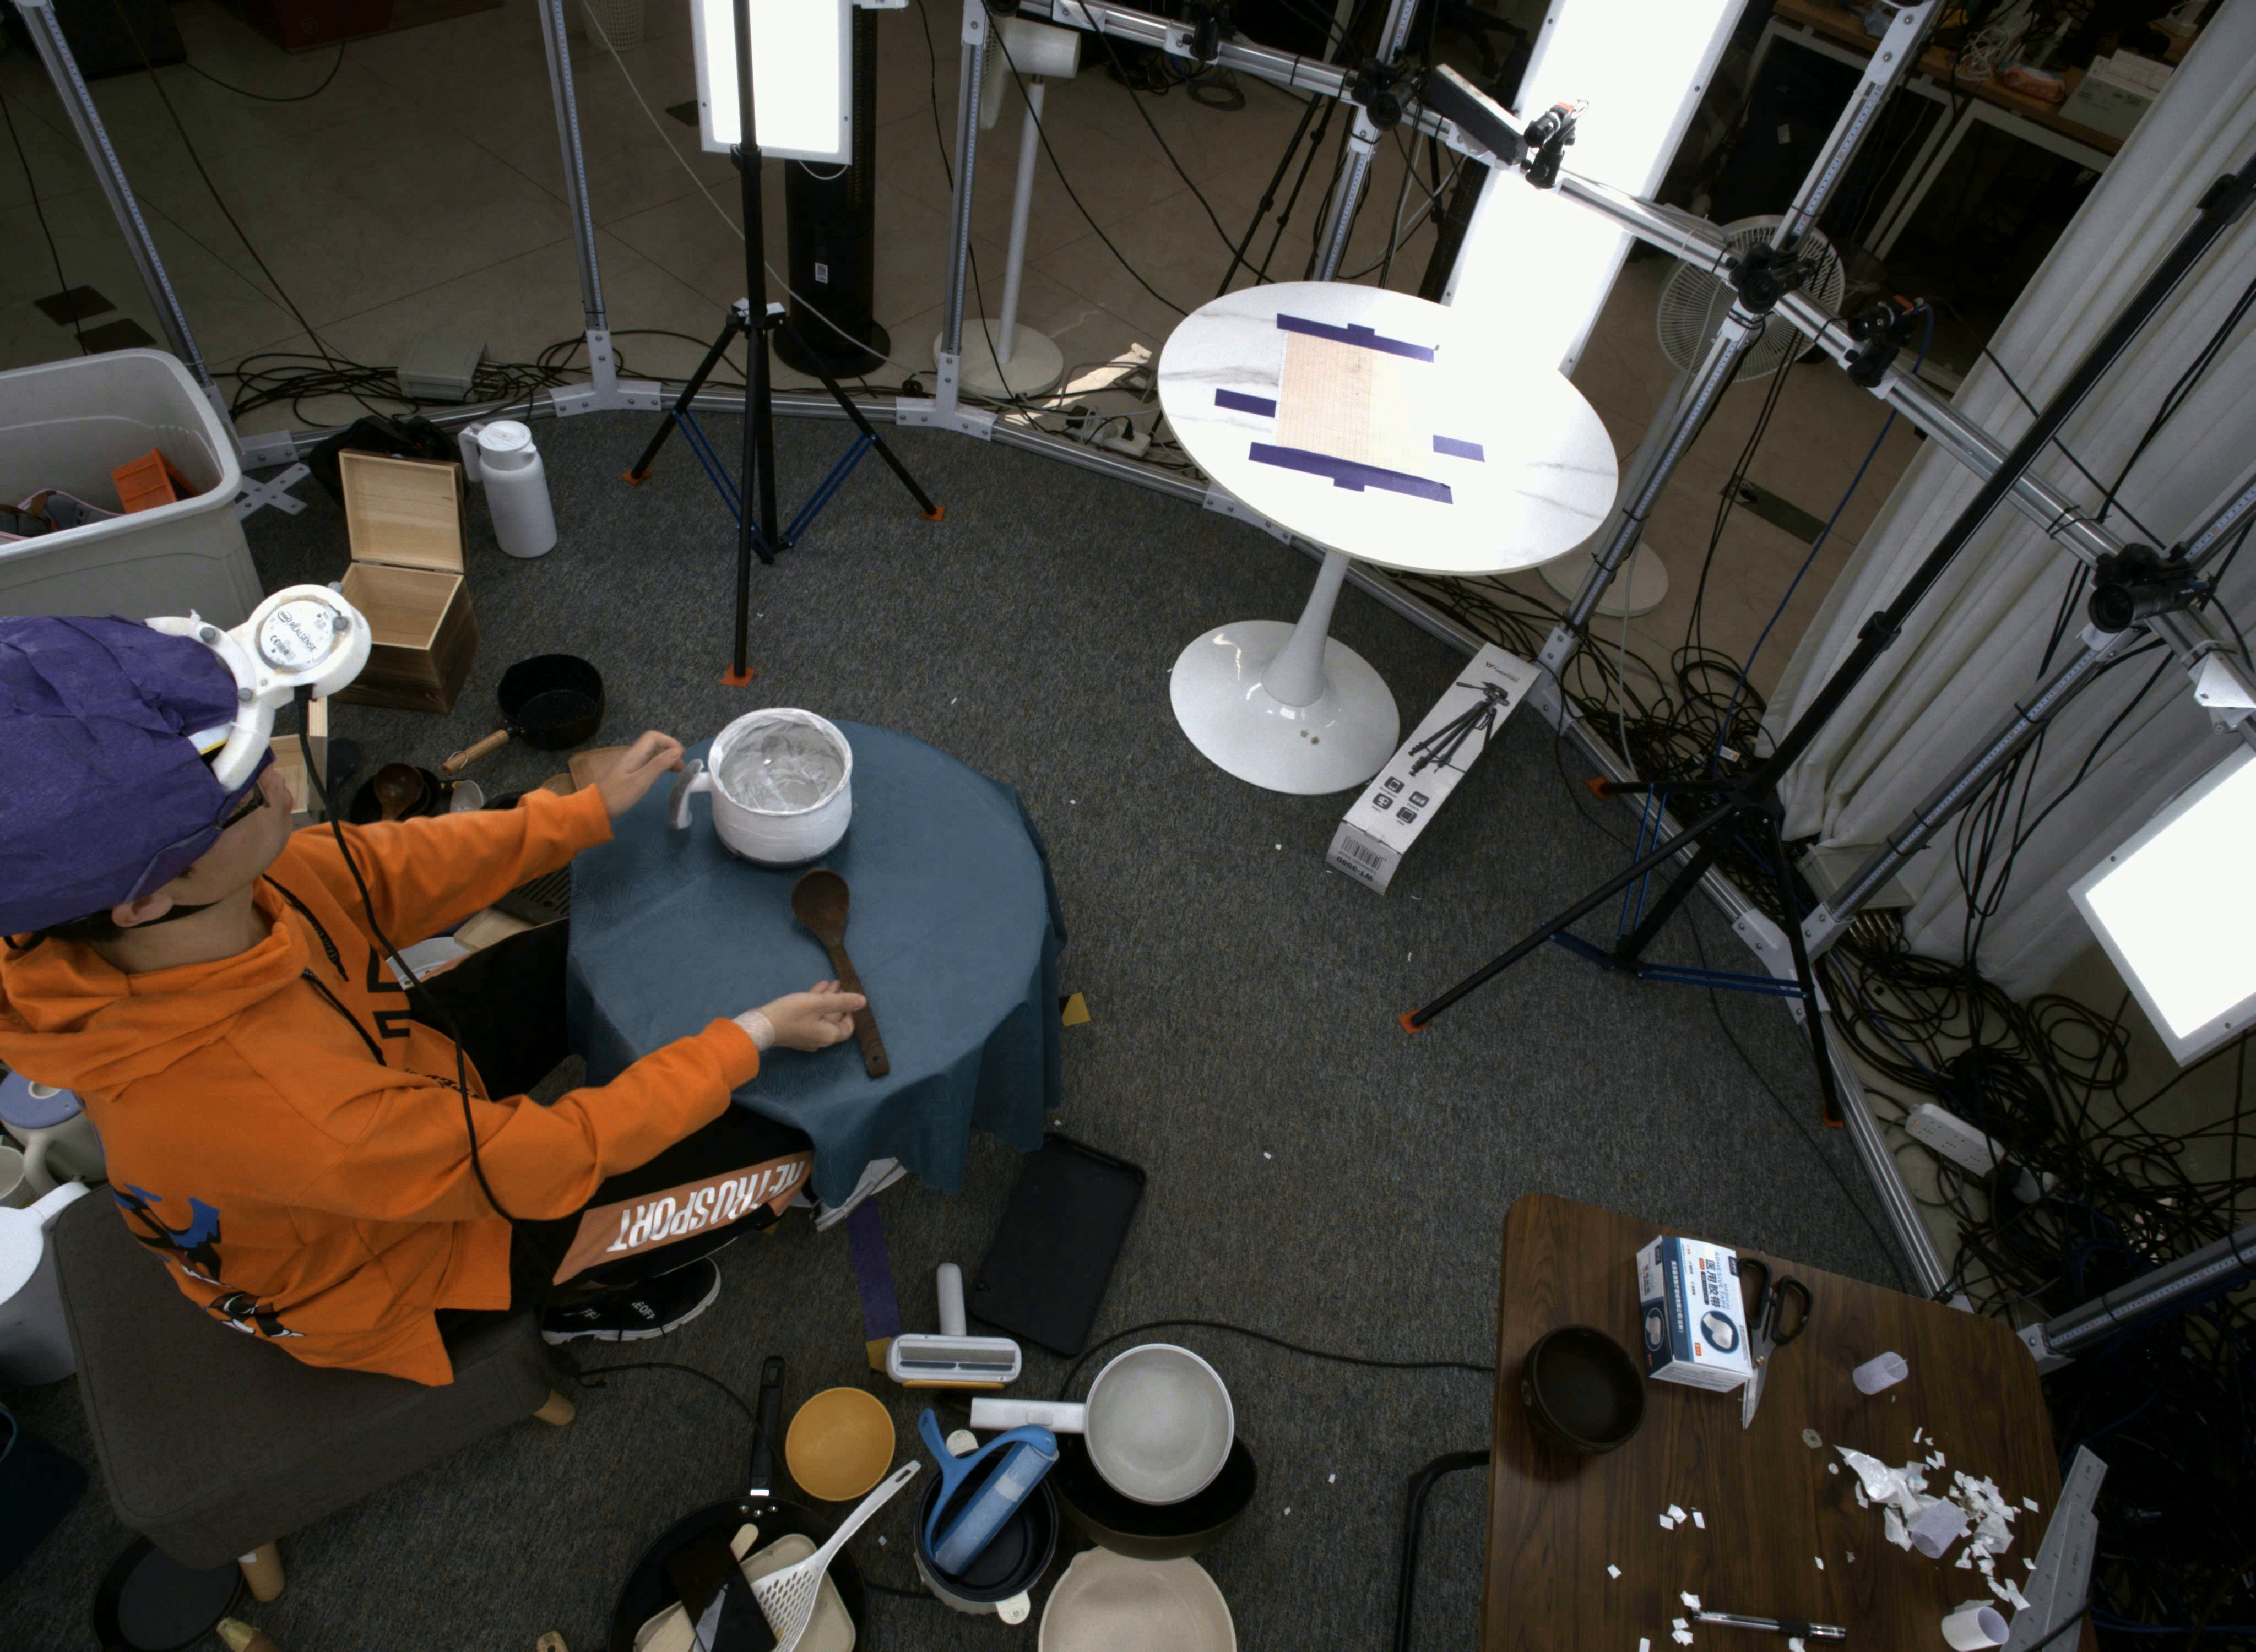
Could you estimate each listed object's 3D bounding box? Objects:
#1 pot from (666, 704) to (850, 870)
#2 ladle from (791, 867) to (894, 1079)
[{"bbox_3d":[-0.471,-0.044,1.645,0.235,0.139,0.174,-5,54,-18],"label":"pot"},{"bbox_3d":[-0.338,0.169,1.564,0.076,0.073,0.267,-16,58,-22],"label":"ladle"}]
